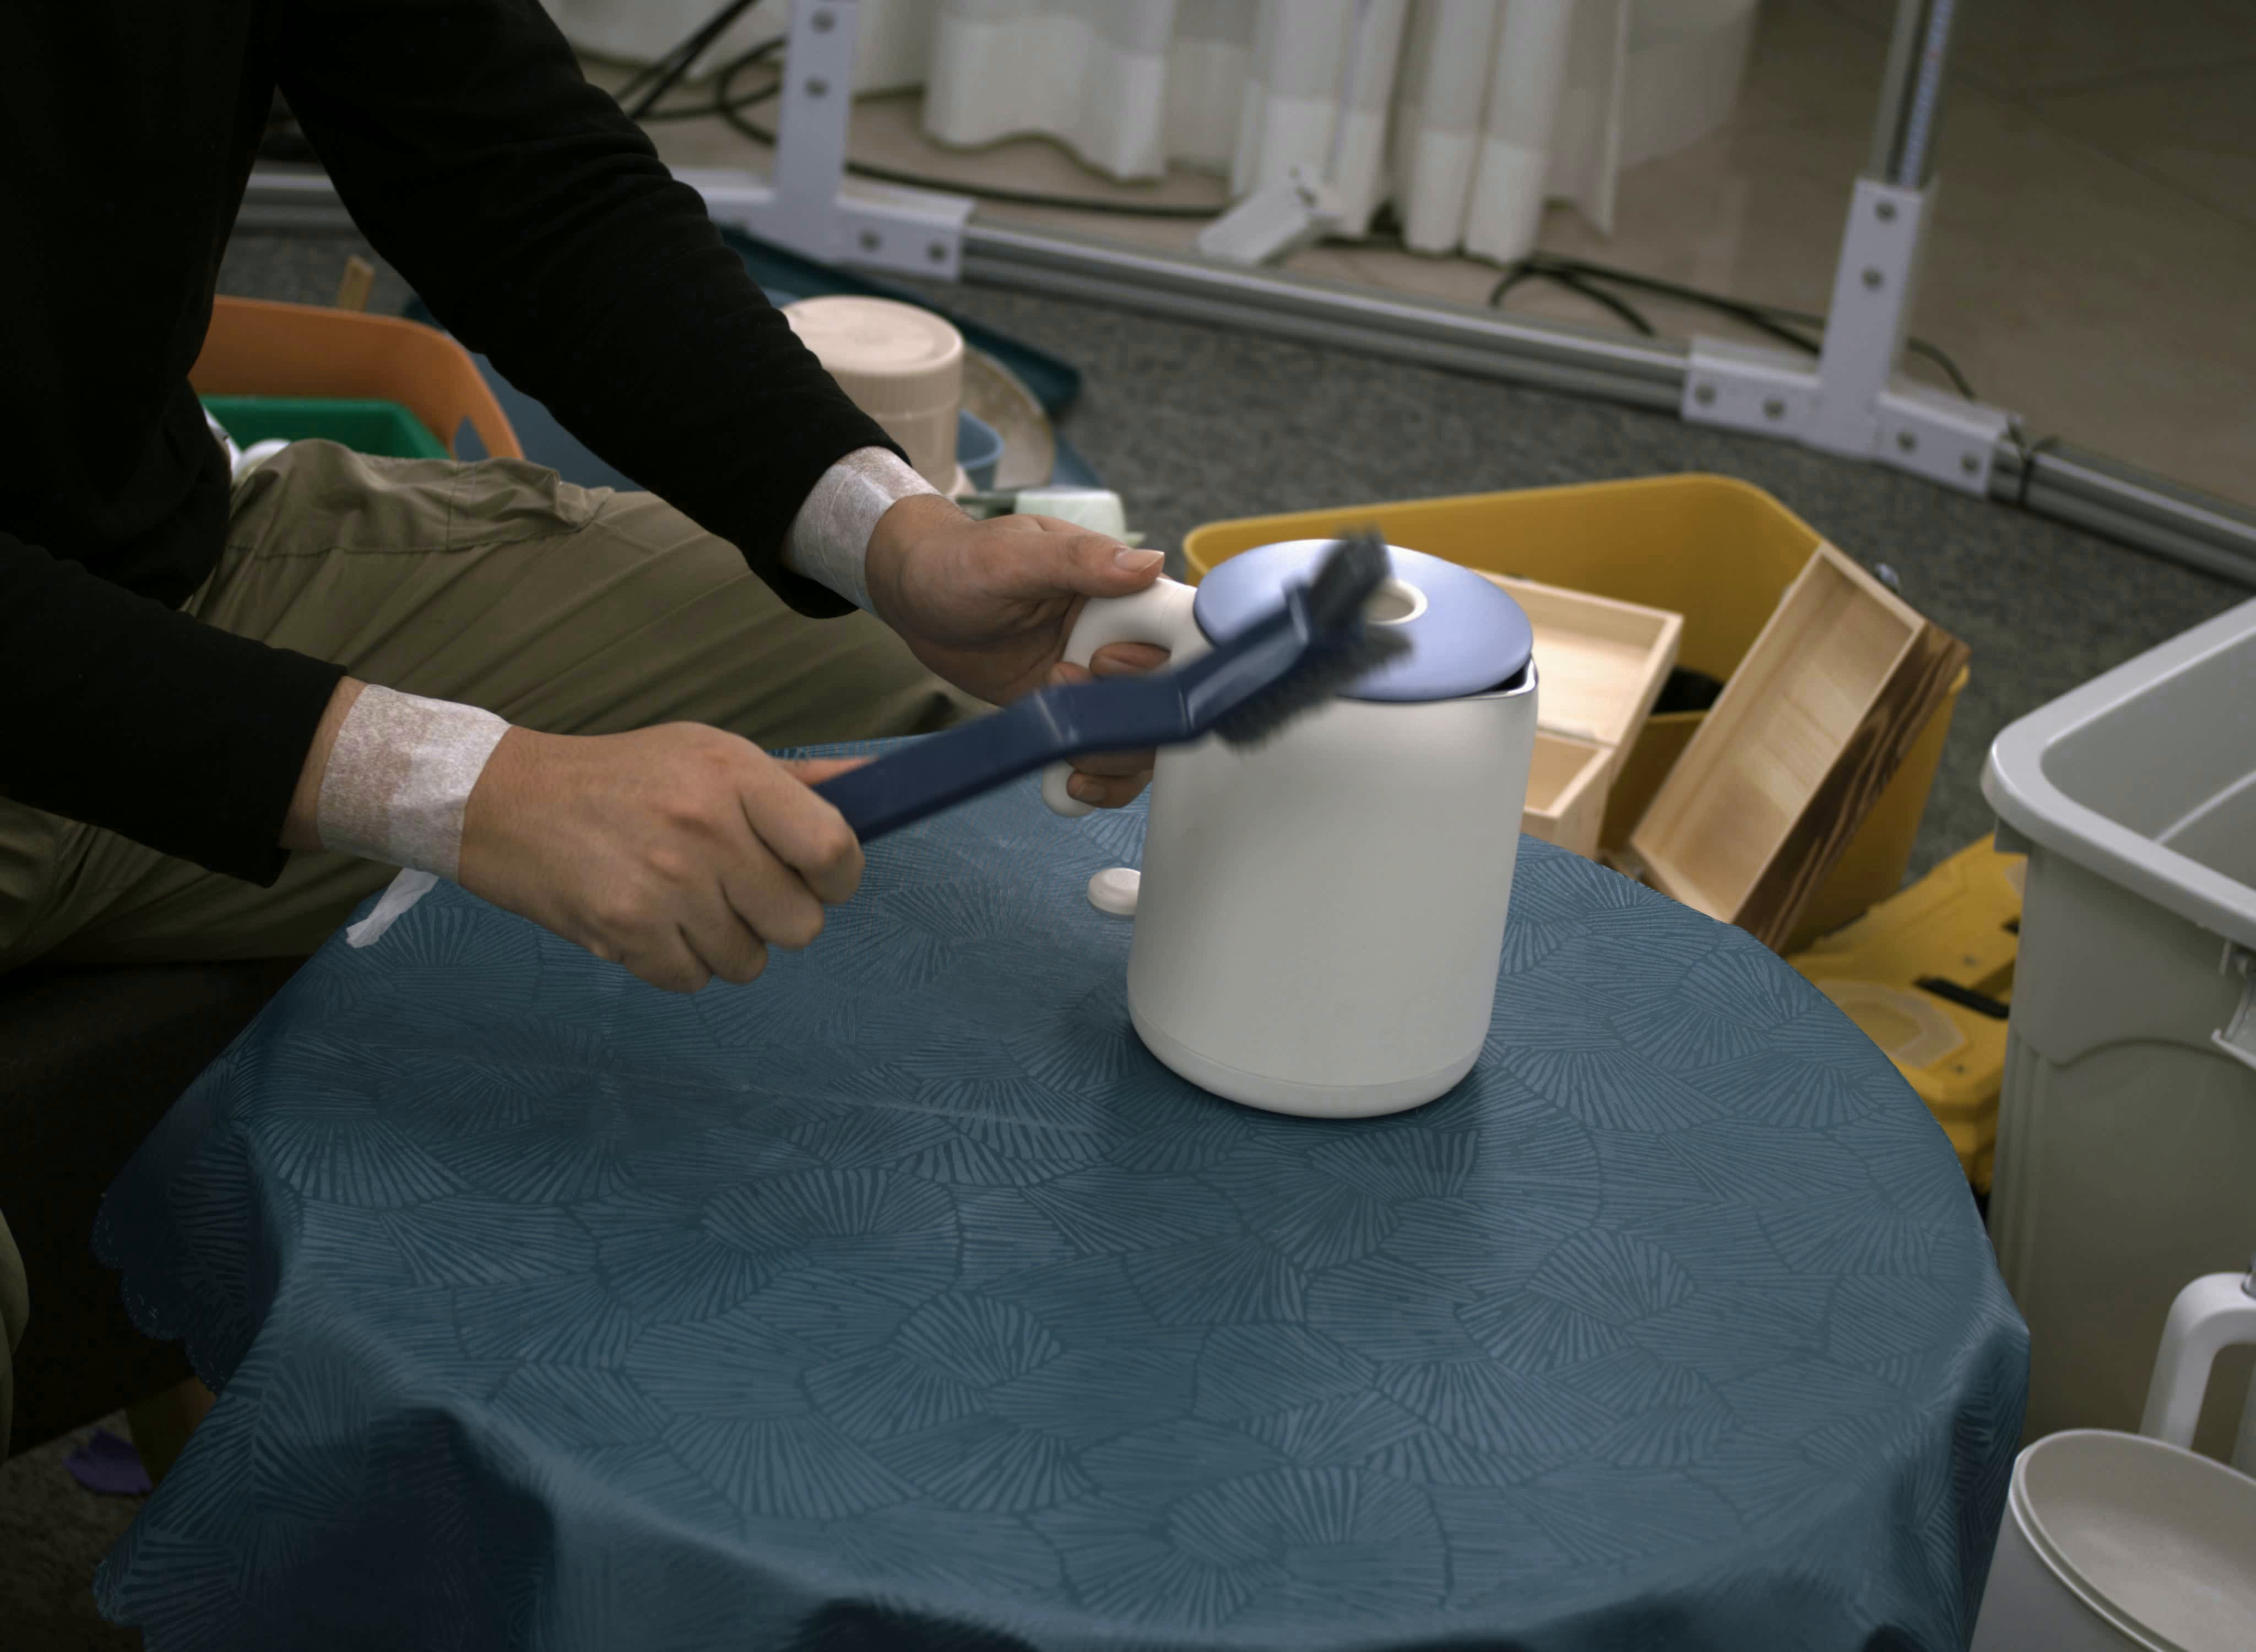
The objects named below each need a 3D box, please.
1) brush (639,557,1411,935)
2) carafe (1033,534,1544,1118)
[{"bbox_3d":[-0.041,-0.026,1.743,0.273,0.095,0.034,-16,63,9],"label":"brush"},{"bbox_3d":[0.051,-0.008,1.883,0.192,0.182,0.132,20,29,26],"label":"carafe"}]
